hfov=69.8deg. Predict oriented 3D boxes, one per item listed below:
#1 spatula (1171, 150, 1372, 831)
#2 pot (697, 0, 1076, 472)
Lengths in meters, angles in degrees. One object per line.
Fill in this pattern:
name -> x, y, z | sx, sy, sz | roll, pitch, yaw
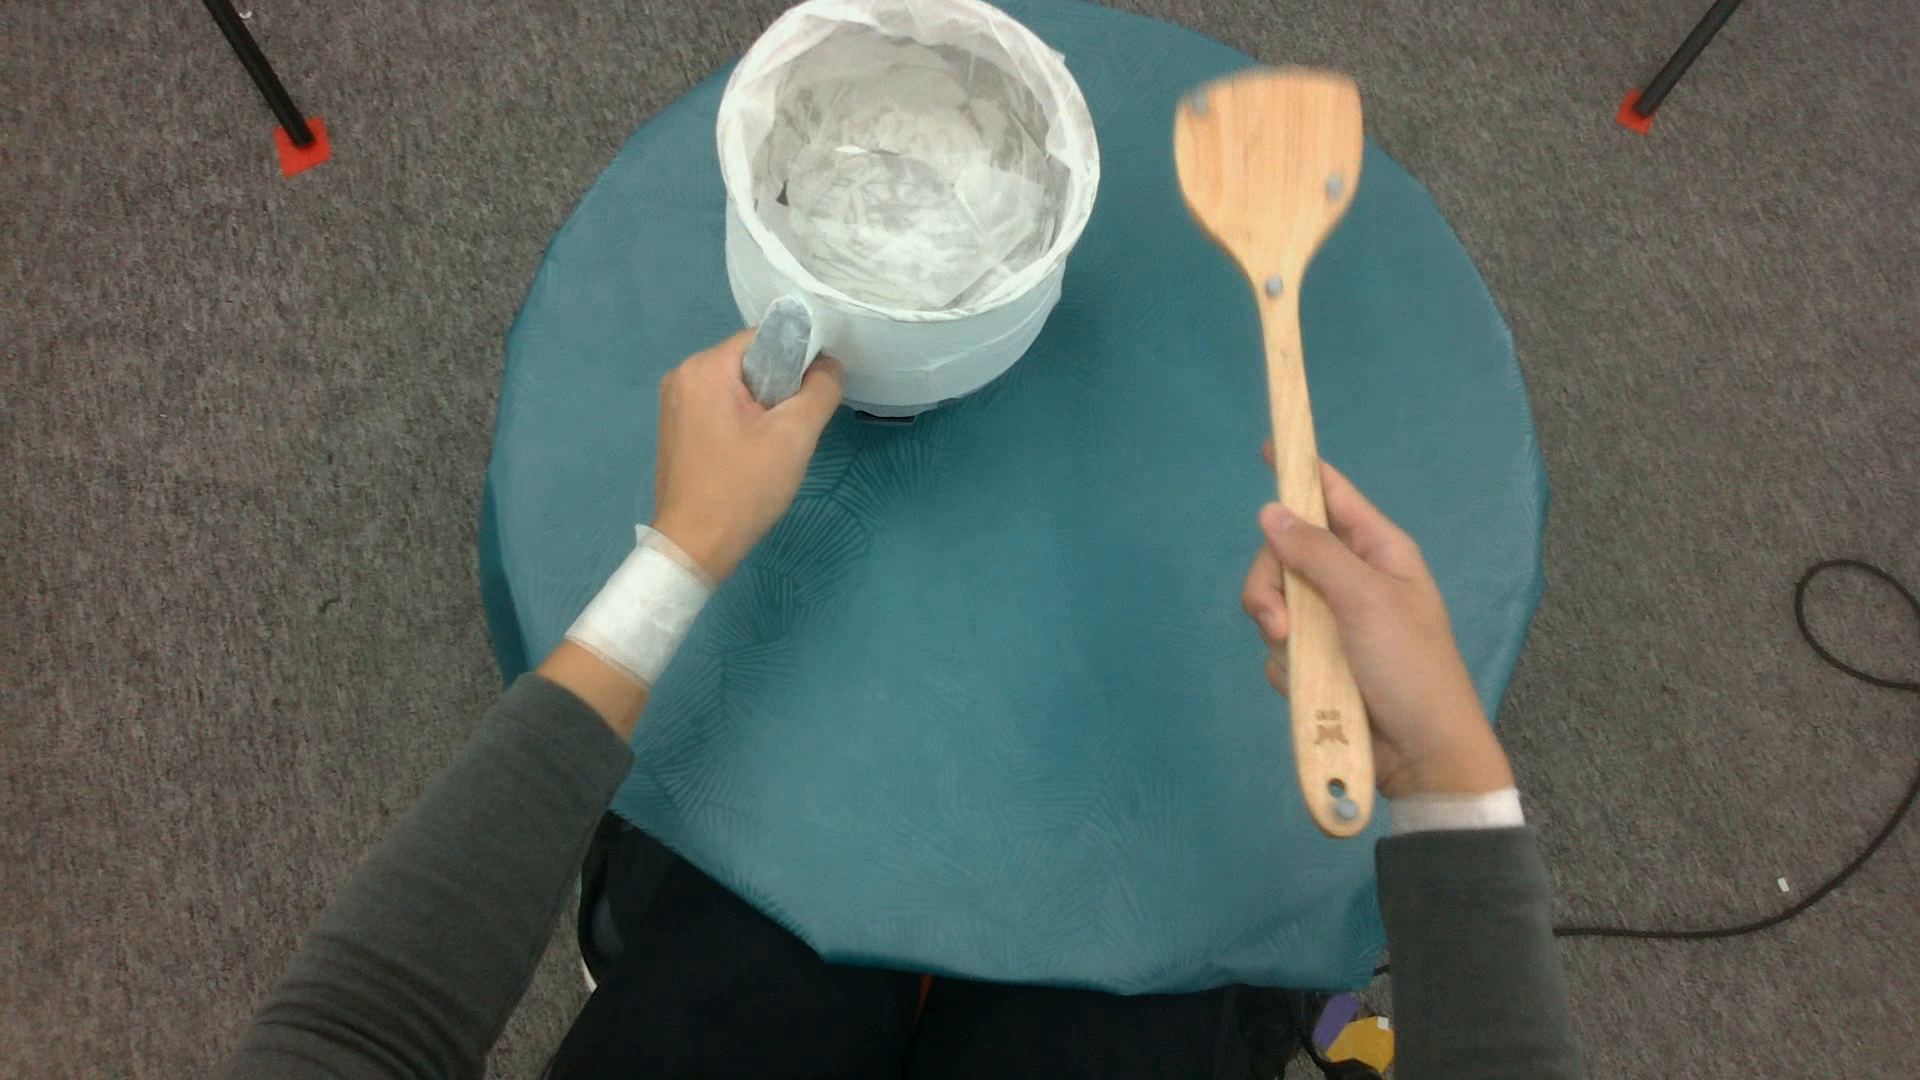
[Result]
spatula -> 0.158, -0.049, 0.649 | 0.096, 0.018, 0.392 | -2, 55, 5
pot -> -0.055, -0.144, 0.691 | 0.179, 0.136, 0.234 | 30, 71, 0
